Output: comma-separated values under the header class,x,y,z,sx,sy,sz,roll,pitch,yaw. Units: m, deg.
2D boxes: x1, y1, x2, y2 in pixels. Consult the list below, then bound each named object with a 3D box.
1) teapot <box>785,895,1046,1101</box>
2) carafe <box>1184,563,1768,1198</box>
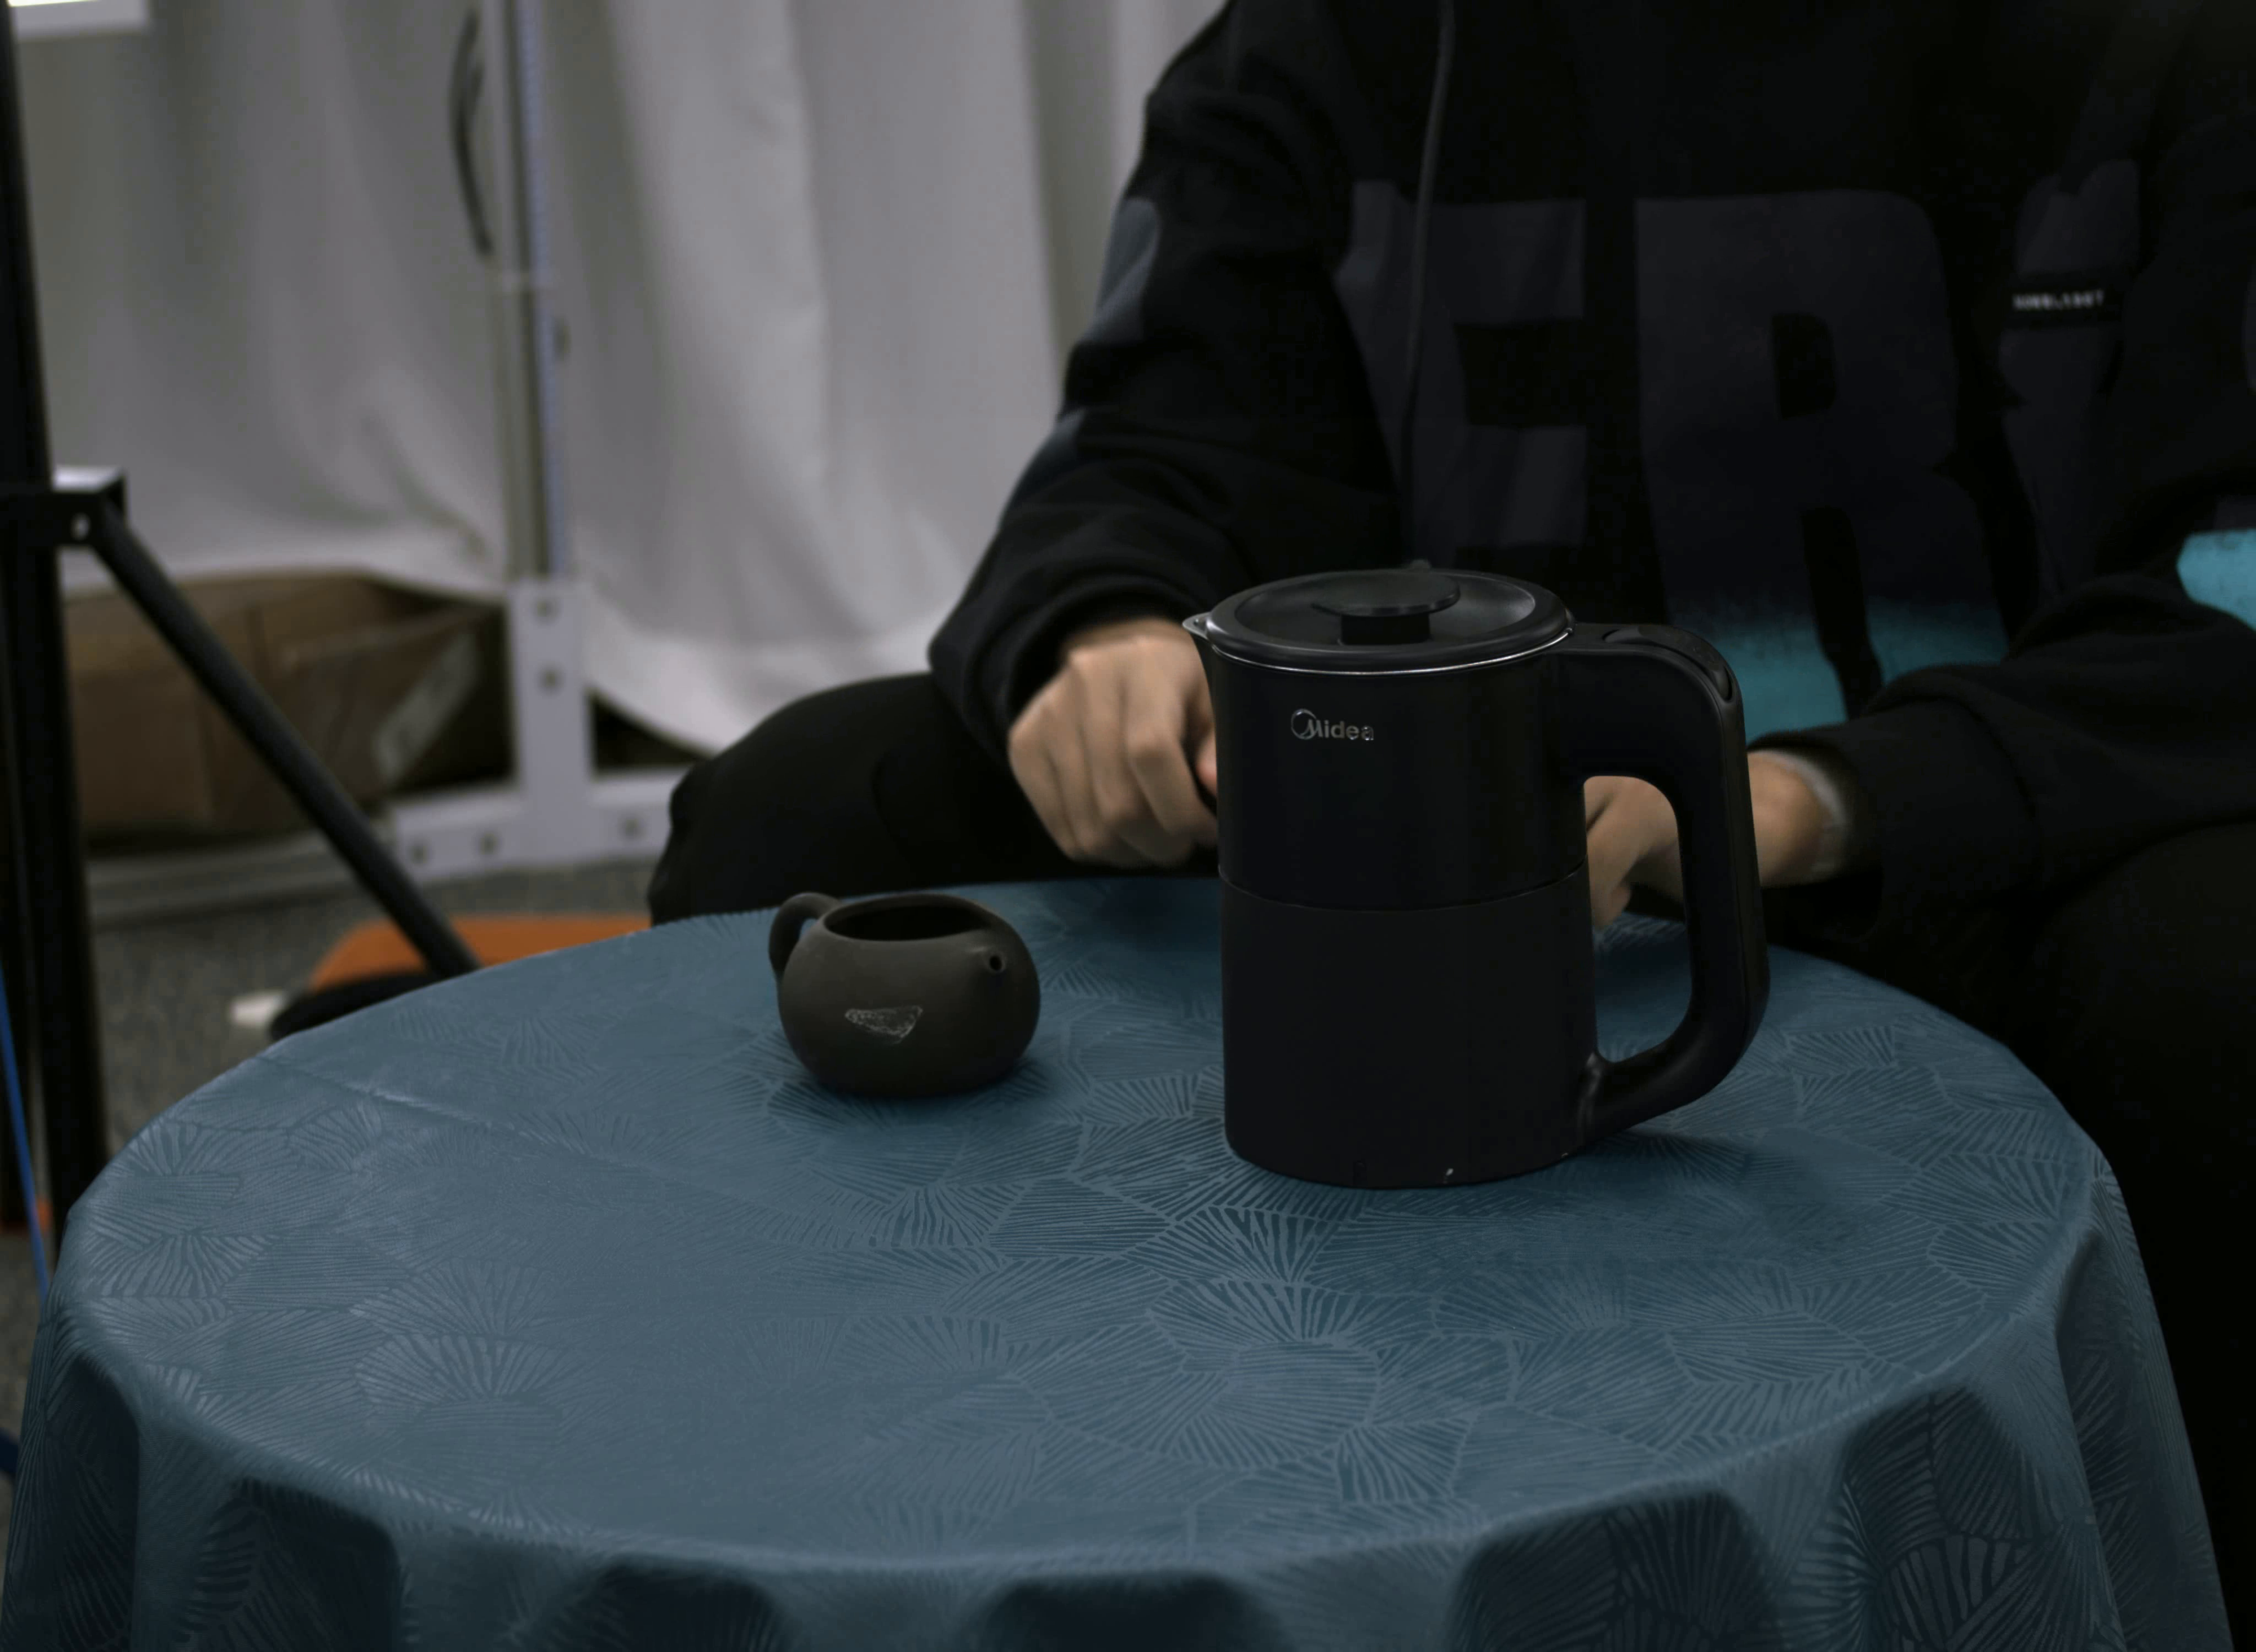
class,x,y,z,sx,sy,sz,roll,pitch,yaw
teapot,-0.074,0.051,1.680,0.081,0.053,0.117,-12,21,-34
carafe,0.102,0.011,1.570,0.173,0.173,0.113,0,13,20
